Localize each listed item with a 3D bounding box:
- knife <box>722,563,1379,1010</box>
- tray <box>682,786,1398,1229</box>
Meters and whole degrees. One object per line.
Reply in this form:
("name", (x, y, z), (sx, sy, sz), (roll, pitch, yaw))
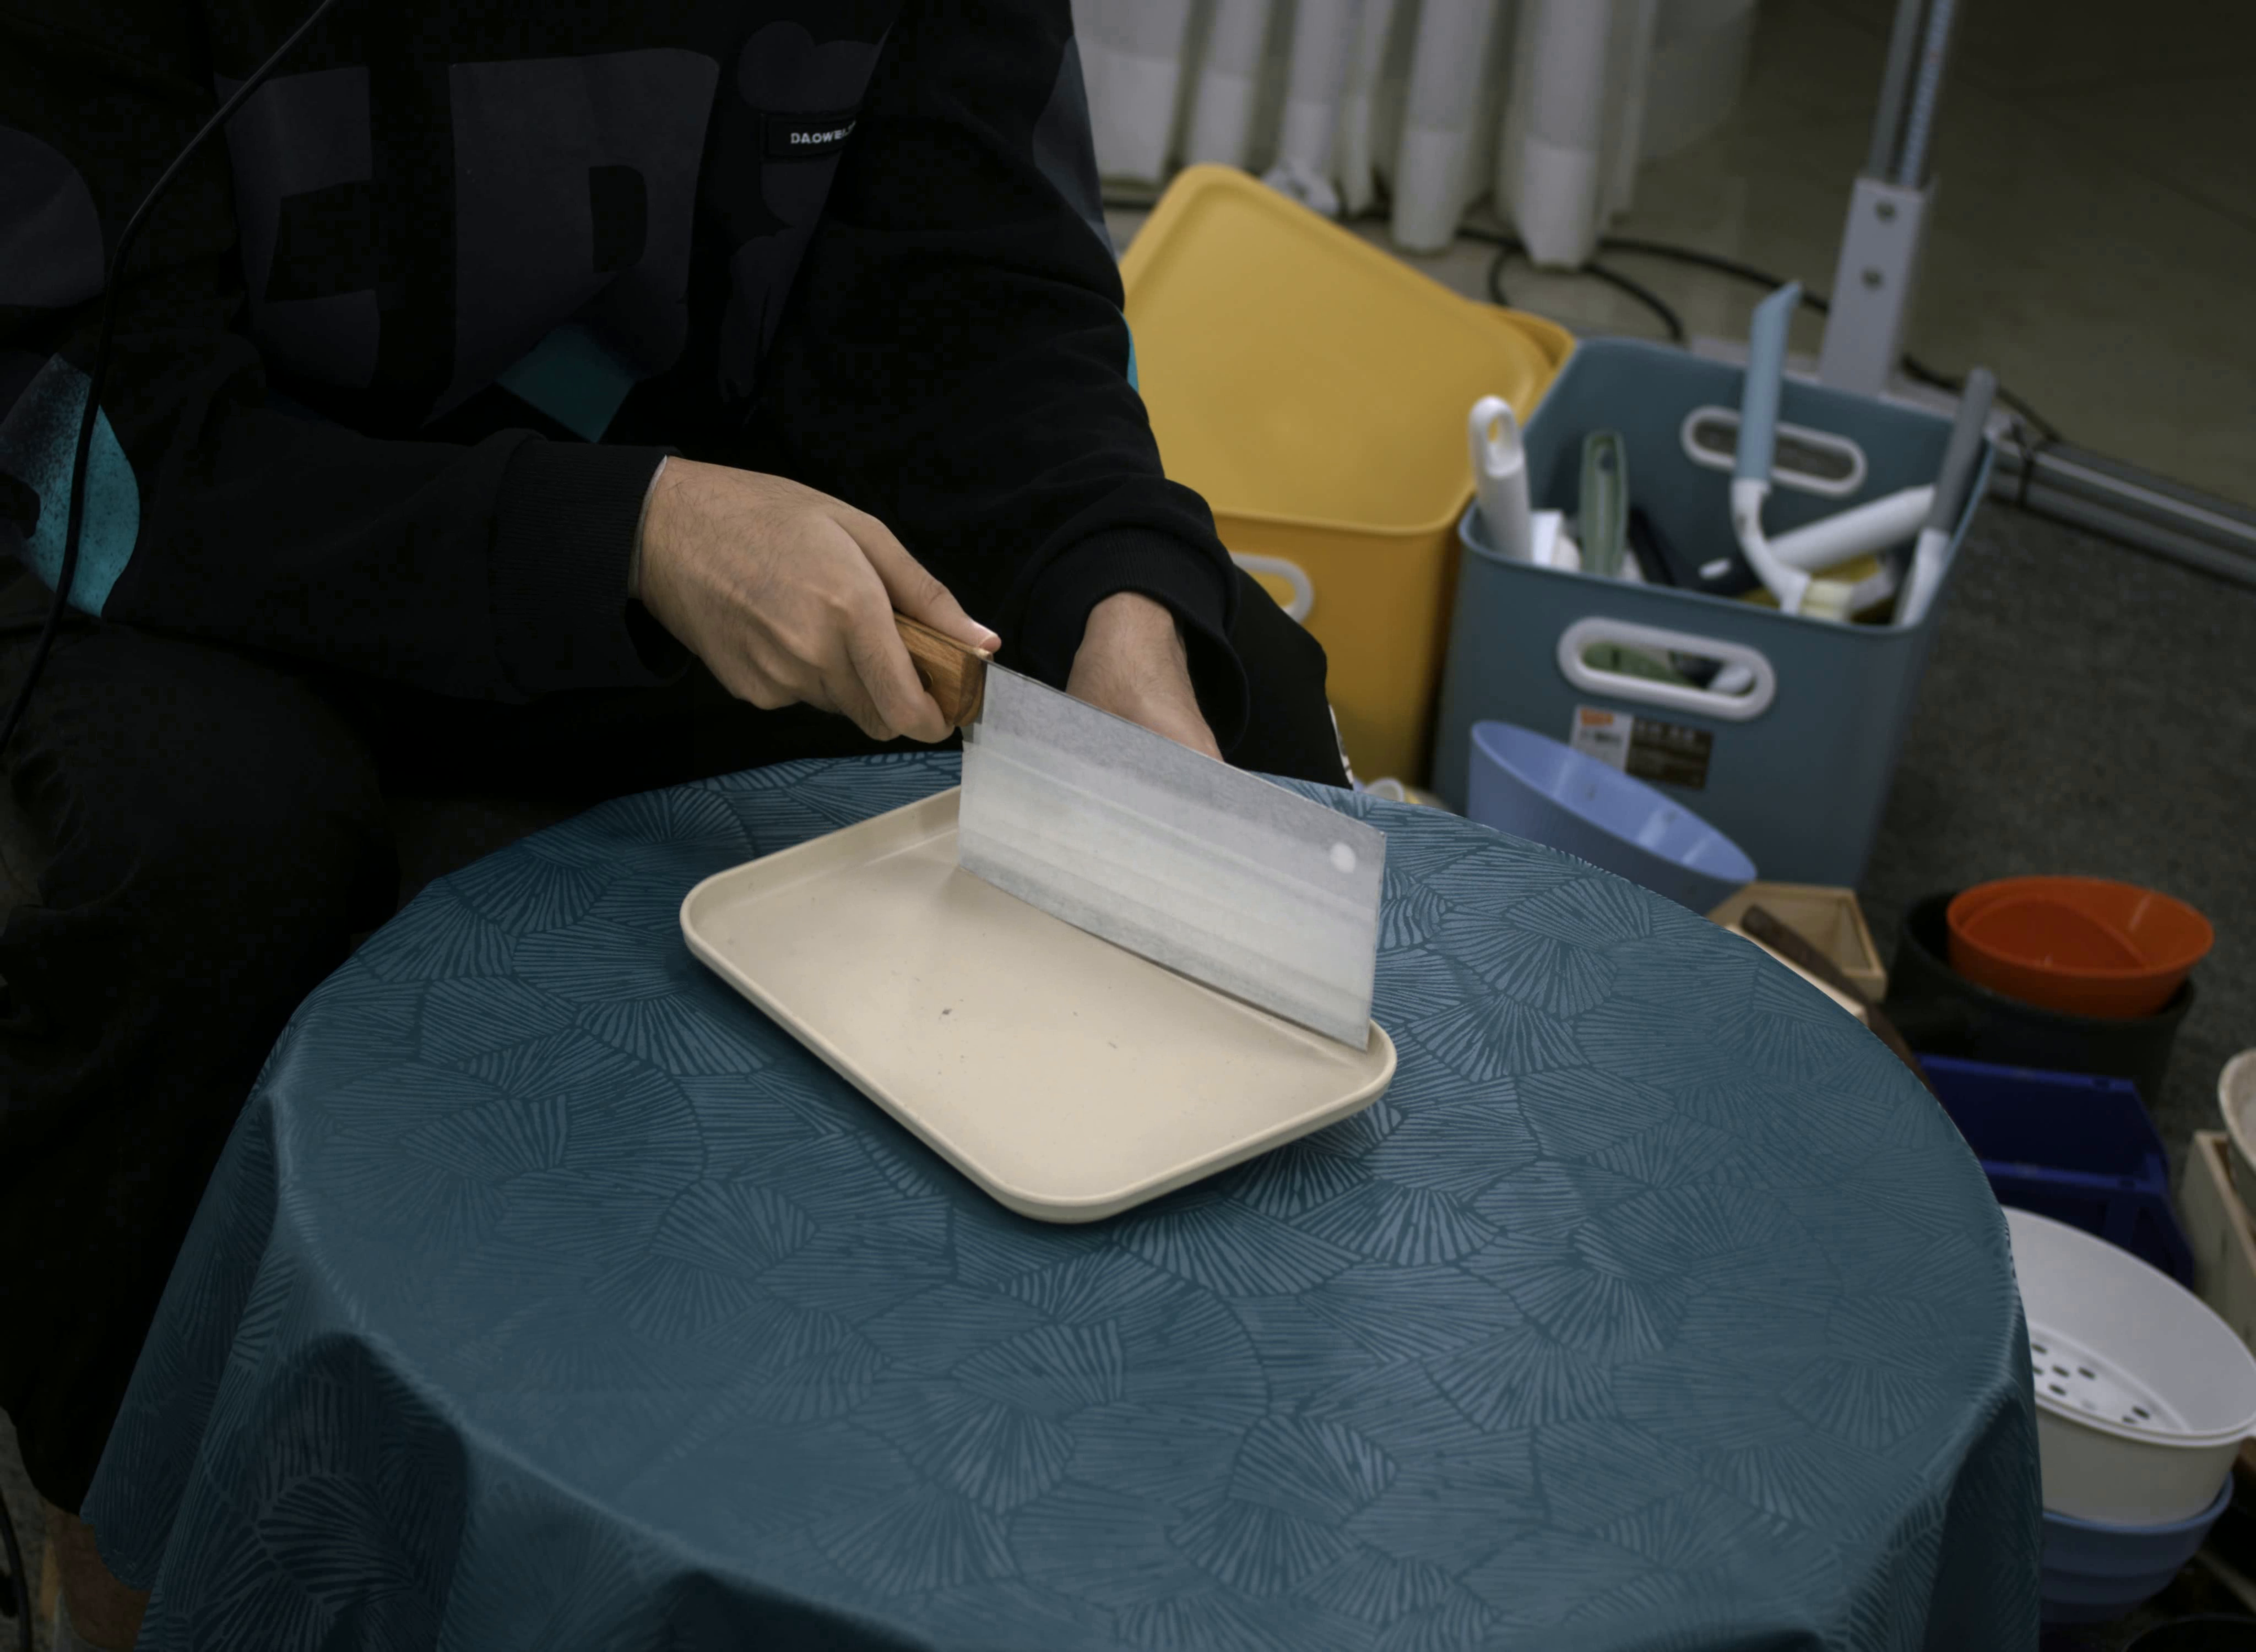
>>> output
("knife", (-0.032, -0.012, 1.917), (0.308, 0.092, 0.021), (24, 34, 33))
("tray", (-0.033, 0.061, 1.879), (0.170, 0.017, 0.242), (-22, 39, -31))
